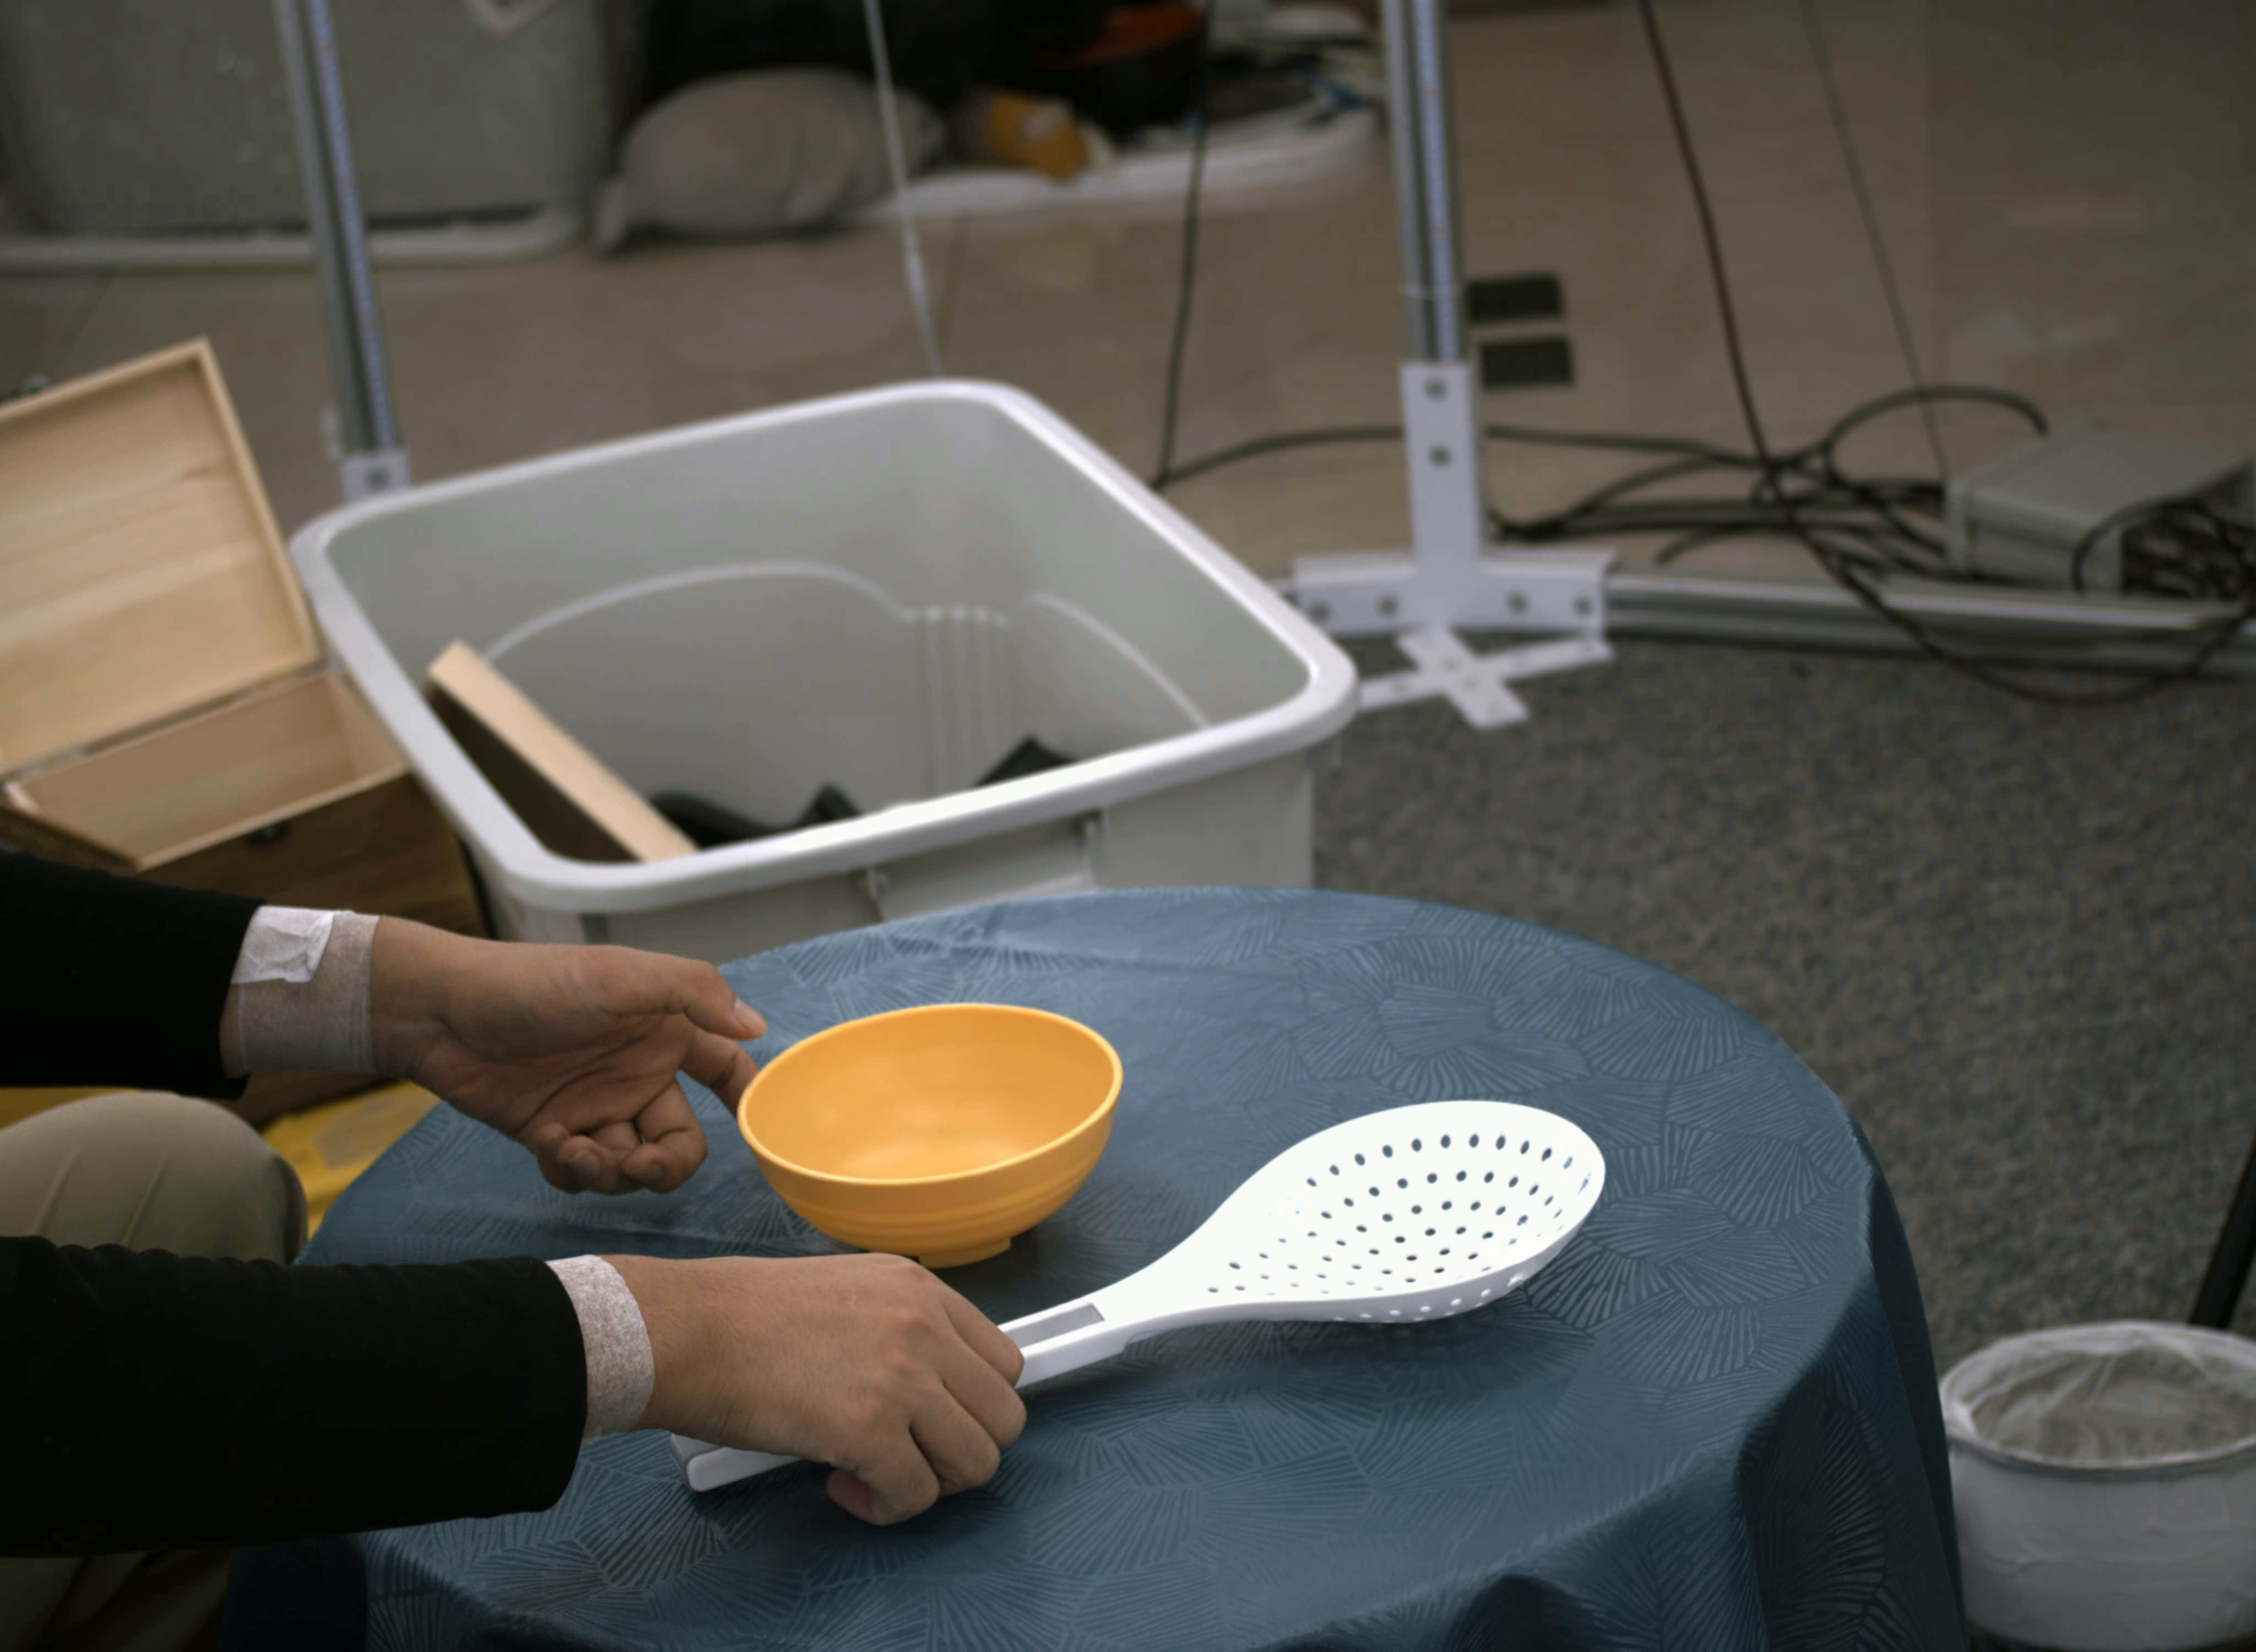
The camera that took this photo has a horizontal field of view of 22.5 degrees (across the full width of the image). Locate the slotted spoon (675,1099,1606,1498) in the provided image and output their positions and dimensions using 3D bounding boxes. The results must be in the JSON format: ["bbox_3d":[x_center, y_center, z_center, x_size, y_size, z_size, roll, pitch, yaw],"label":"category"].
[{"bbox_3d":[0.006,0.172,2.018,0.348,0.046,0.134,-14,25,-15],"label":"slotted spoon"}]

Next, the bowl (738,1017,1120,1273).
[{"bbox_3d":[-0.072,0.127,2.125,0.145,0.061,0.143,-5,23,2],"label":"bowl"}]
